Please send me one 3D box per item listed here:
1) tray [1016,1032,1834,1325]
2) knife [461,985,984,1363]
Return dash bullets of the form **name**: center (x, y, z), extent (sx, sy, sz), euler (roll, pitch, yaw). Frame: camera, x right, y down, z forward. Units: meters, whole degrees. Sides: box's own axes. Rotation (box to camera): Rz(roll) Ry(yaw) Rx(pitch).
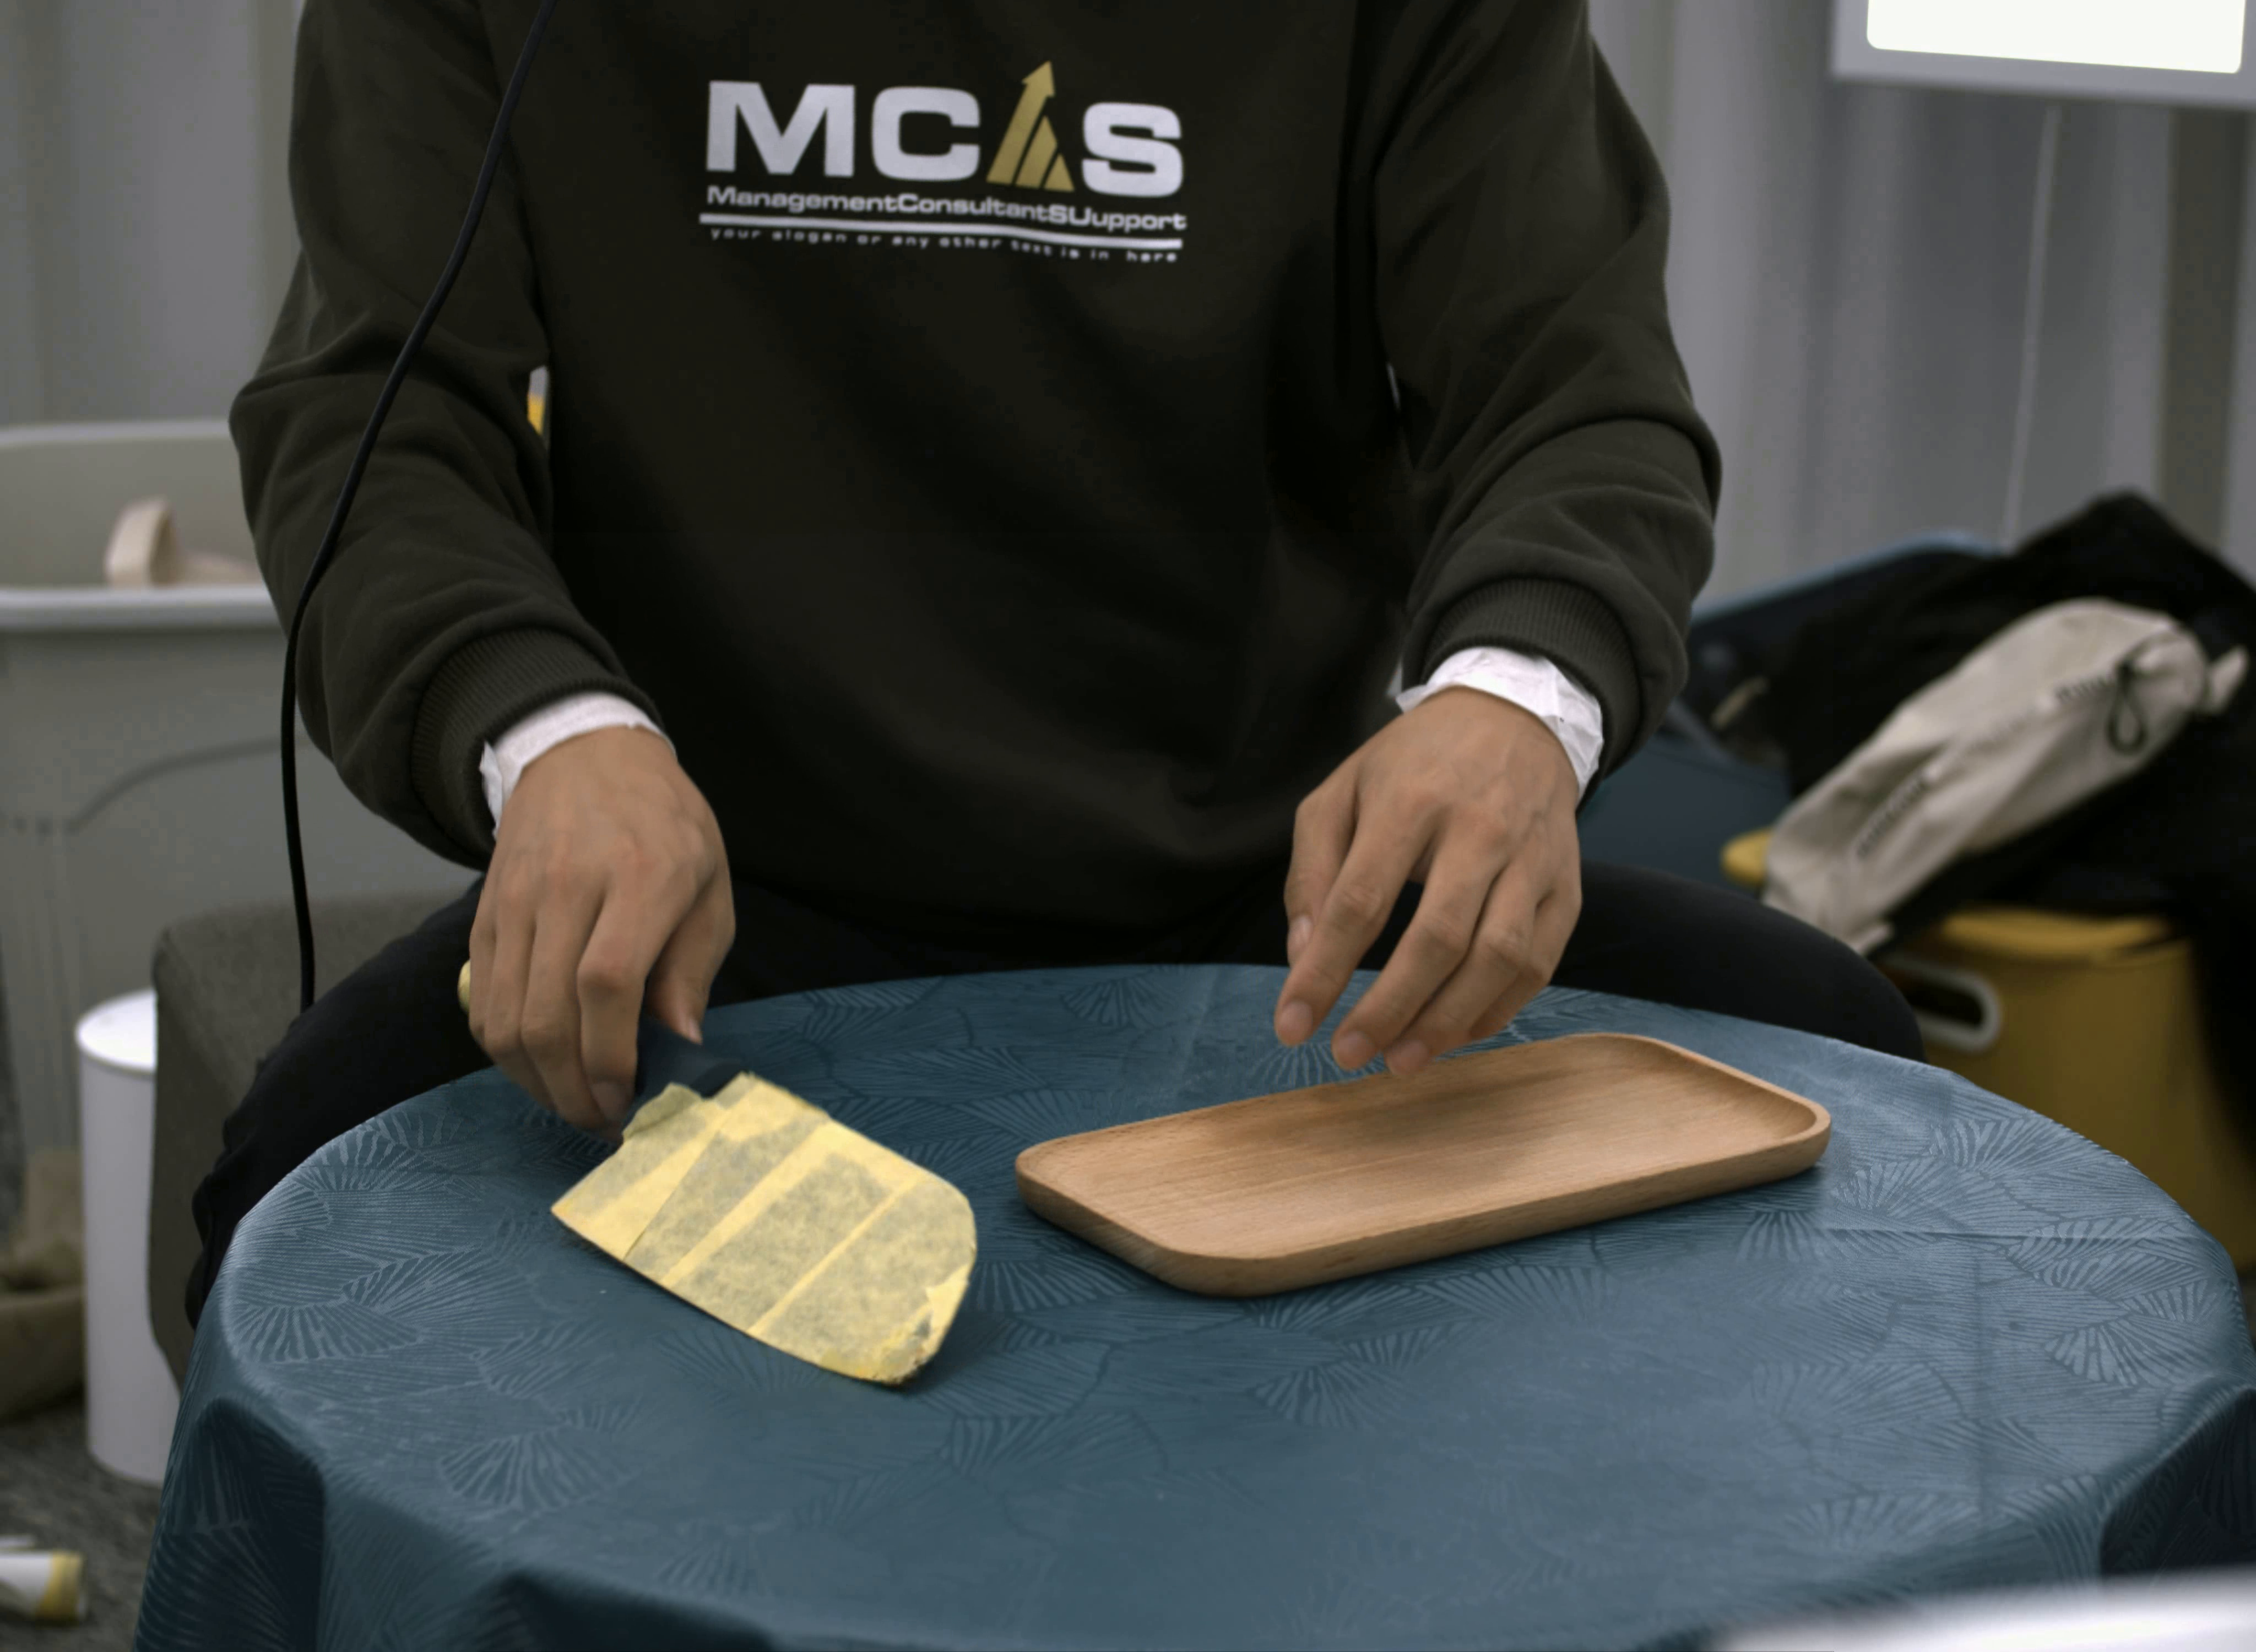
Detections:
- **tray**: center (0.094, 0.107, 1.631), extent (0.252, 0.023, 0.129), euler (-13, 17, -31)
- **knife**: center (-0.132, 0.102, 1.573), extent (0.081, 0.027, 0.285), euler (-38, 34, -20)
